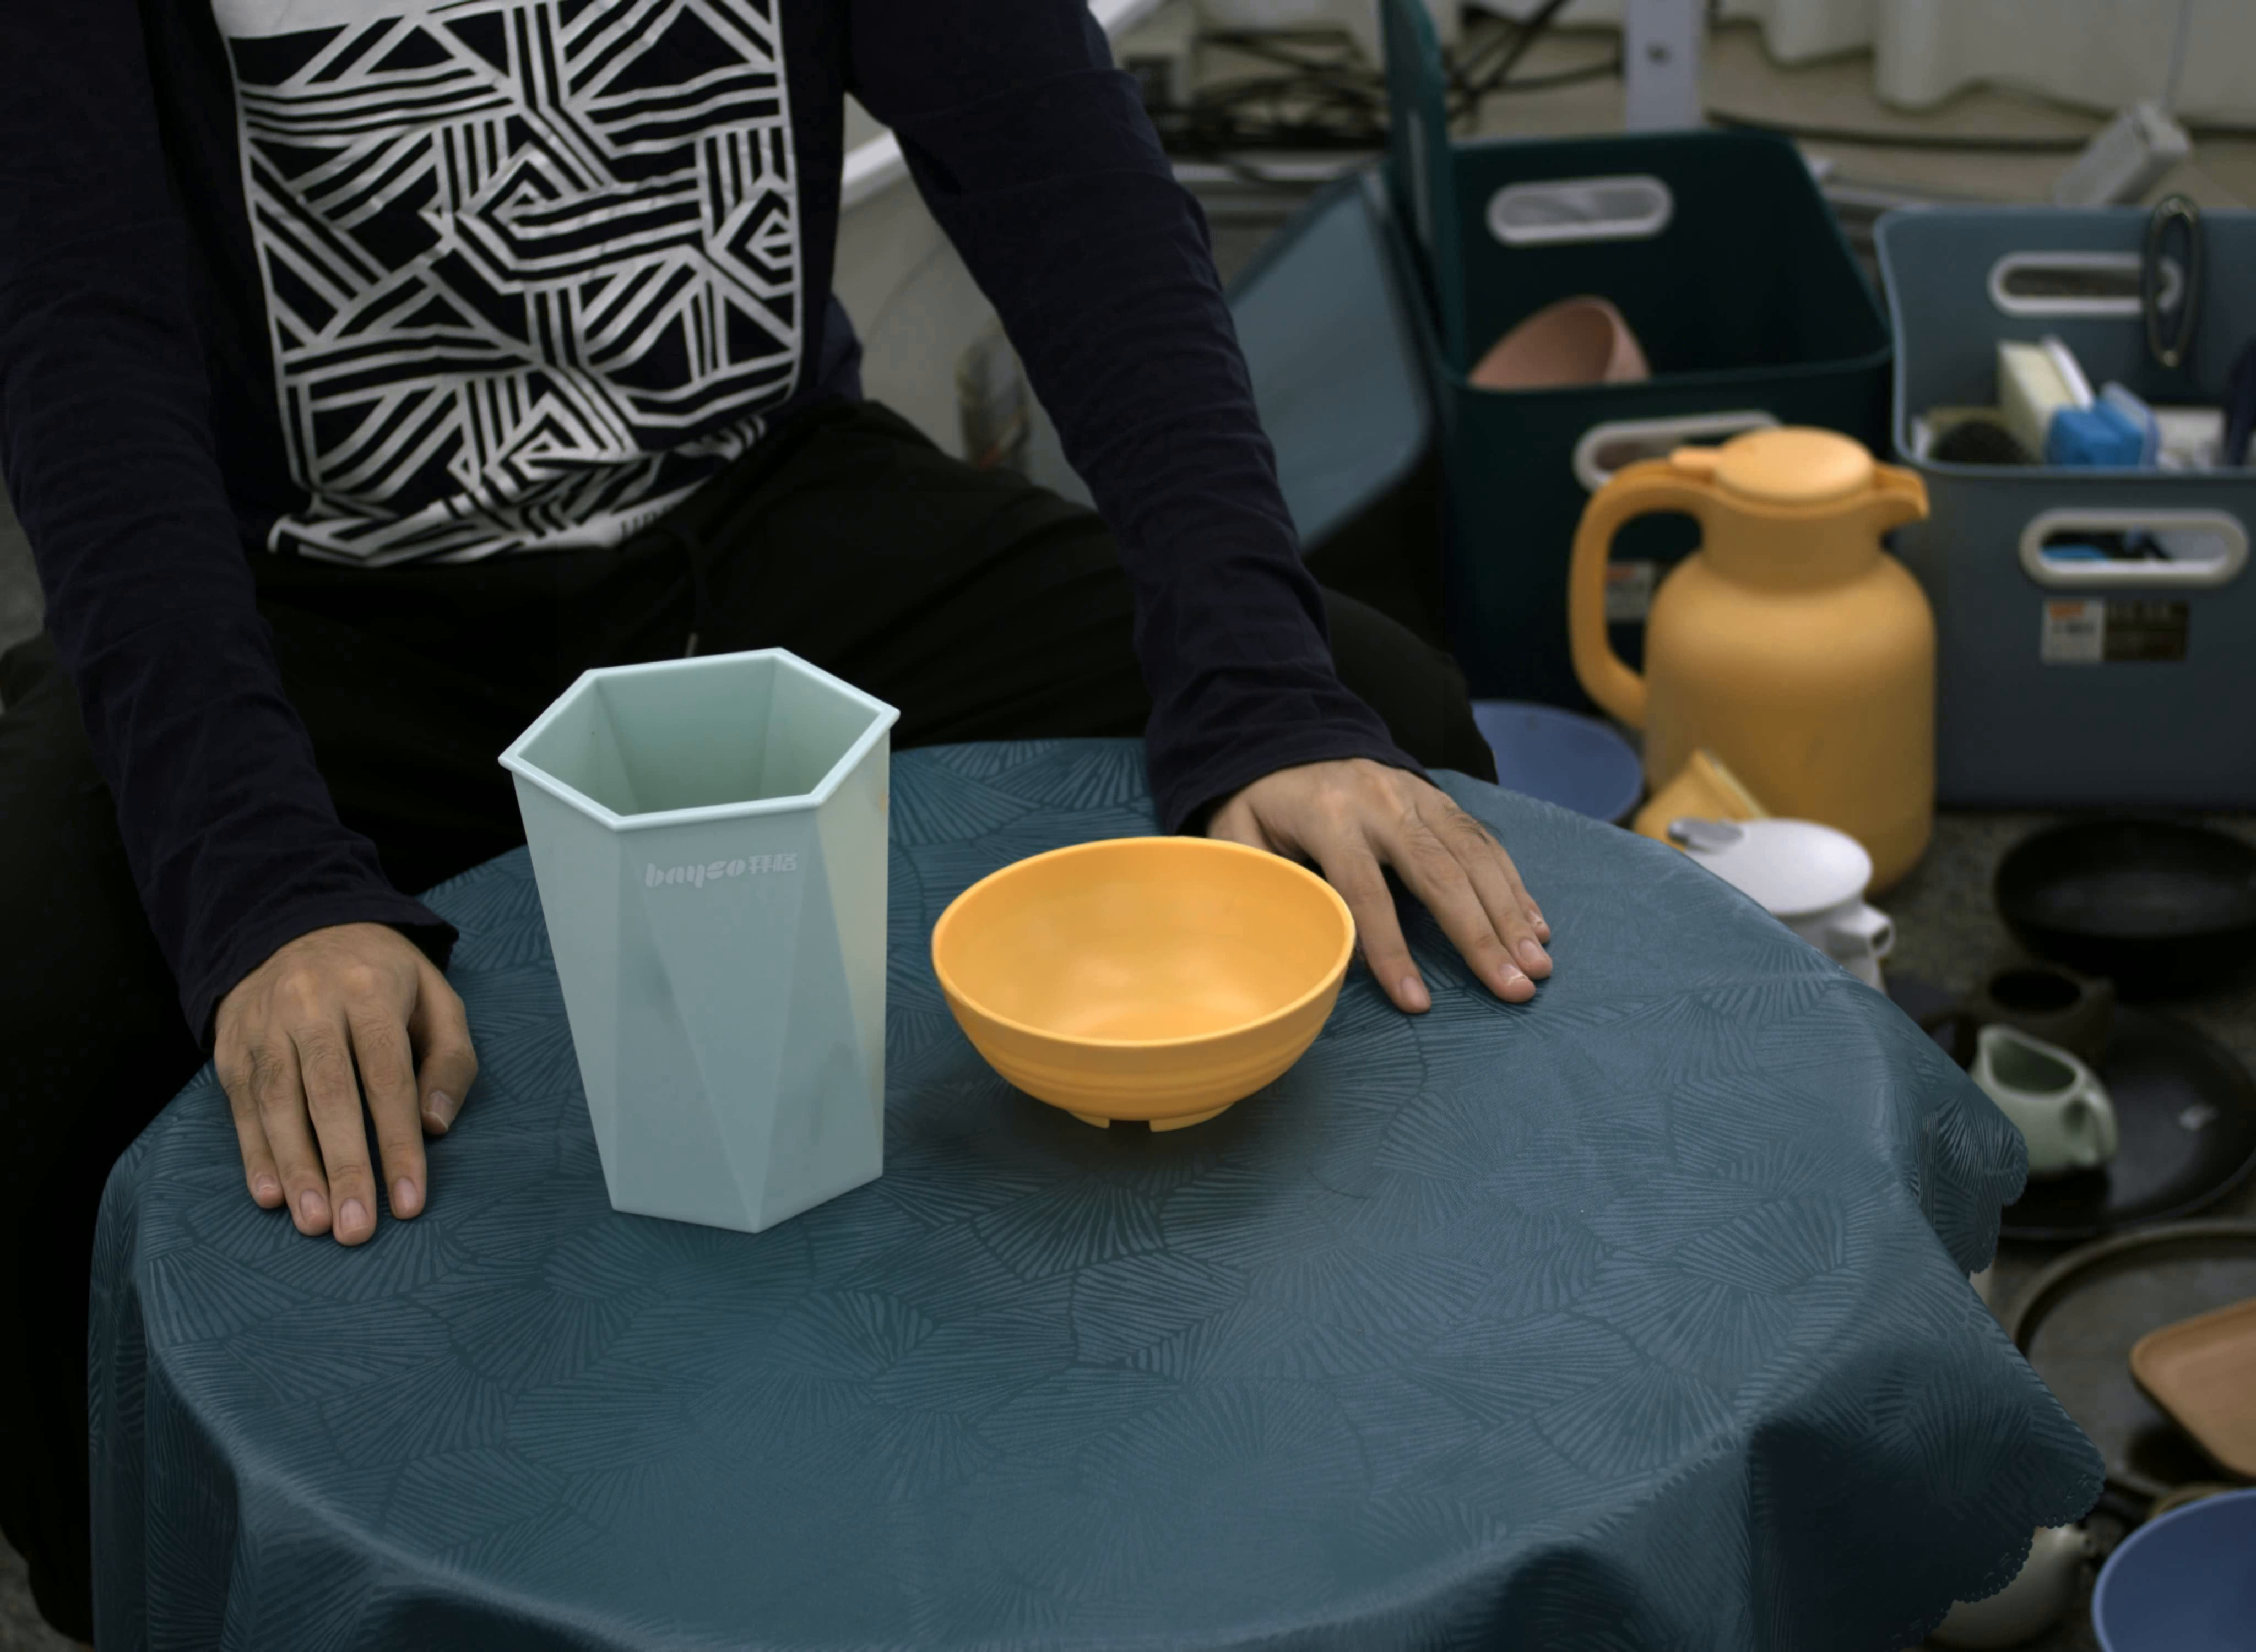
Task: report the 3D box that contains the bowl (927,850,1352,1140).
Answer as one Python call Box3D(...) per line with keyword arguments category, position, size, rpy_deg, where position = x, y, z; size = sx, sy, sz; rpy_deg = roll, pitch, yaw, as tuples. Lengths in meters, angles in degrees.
Box3D(category="bowl", position=(0.005, 0.066, 1.912), size=(0.144, 0.059, 0.147), rpy_deg=(-1, 25, 1))

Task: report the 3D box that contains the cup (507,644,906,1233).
Box3D(category="cup", position=(-0.133, 0.040, 1.855), size=(0.131, 0.161, 0.116), rpy_deg=(-7, 25, -9))
